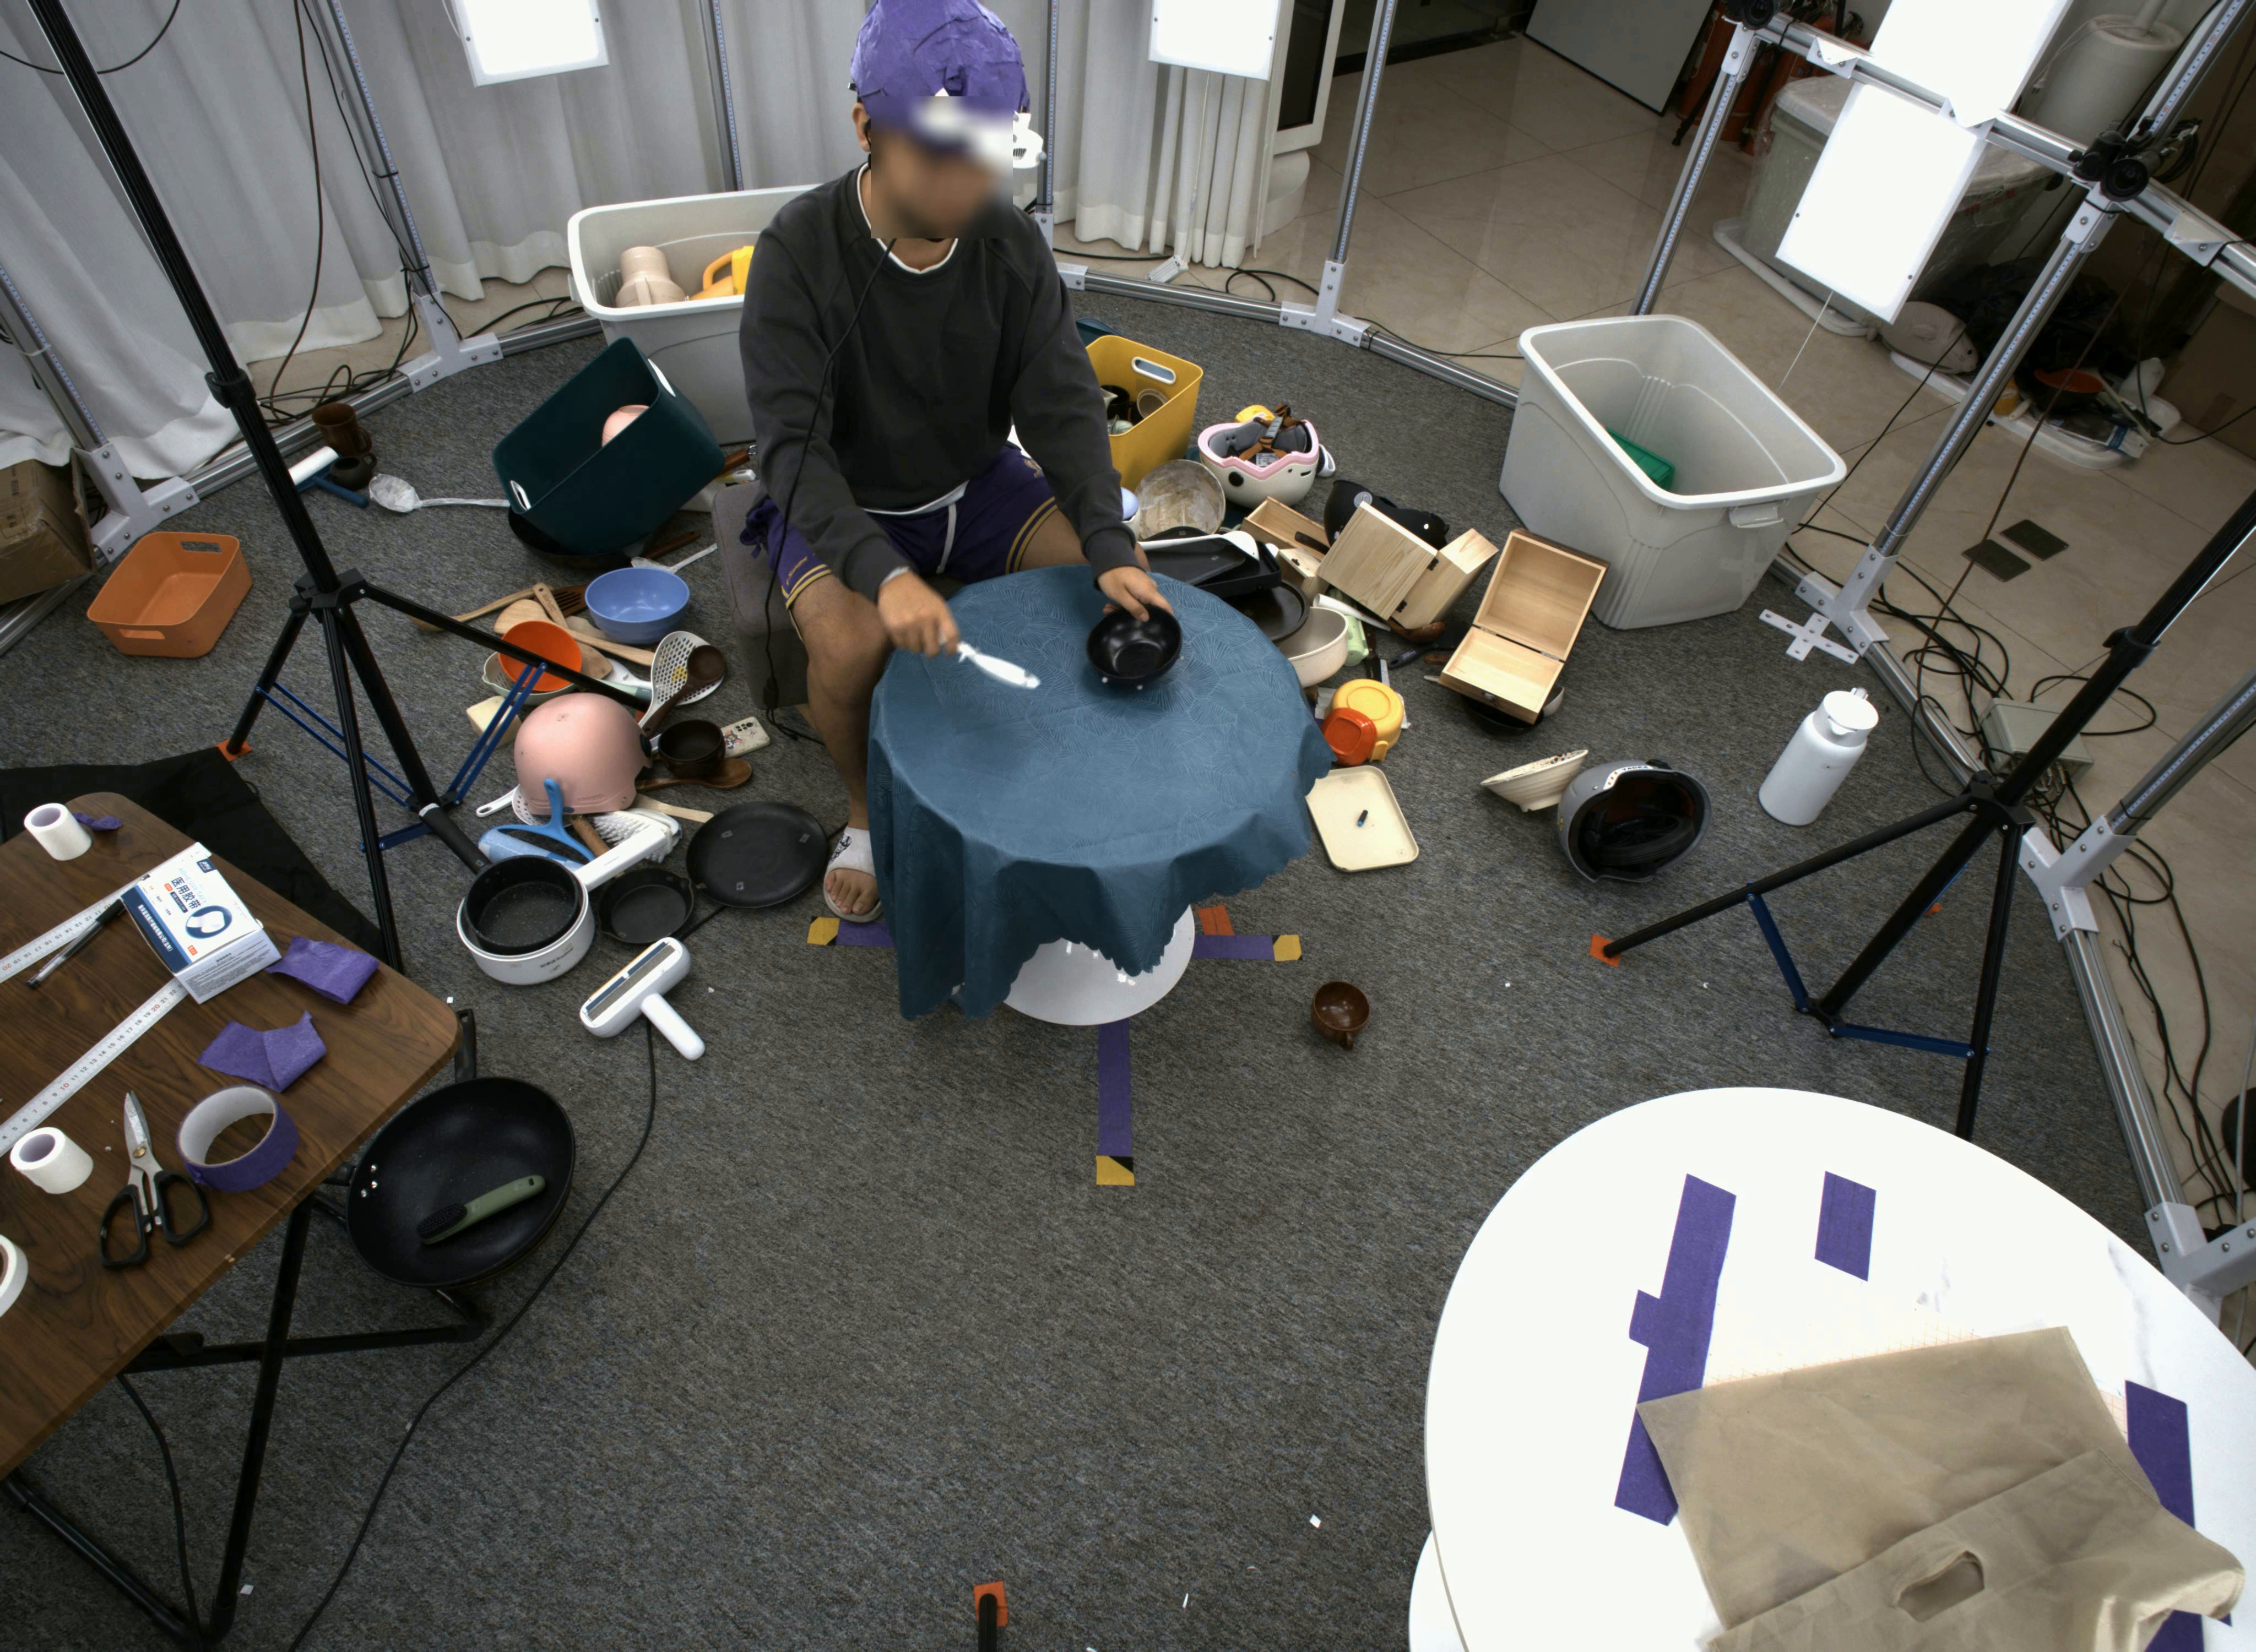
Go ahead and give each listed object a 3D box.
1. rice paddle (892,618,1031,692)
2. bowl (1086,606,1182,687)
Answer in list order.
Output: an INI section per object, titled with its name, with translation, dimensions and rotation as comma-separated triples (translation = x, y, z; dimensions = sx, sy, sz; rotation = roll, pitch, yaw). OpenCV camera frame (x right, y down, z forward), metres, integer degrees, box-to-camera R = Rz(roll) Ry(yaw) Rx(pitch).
[rice paddle]
translation = -0.219, -0.225, 1.717
dimensions = 0.206, 0.029, 0.069
rotation = 26, 16, 13
[bowl]
translation = 0.012, -0.250, 1.844
dimensions = 0.140, 0.048, 0.143
rotation = -6, 53, 8
